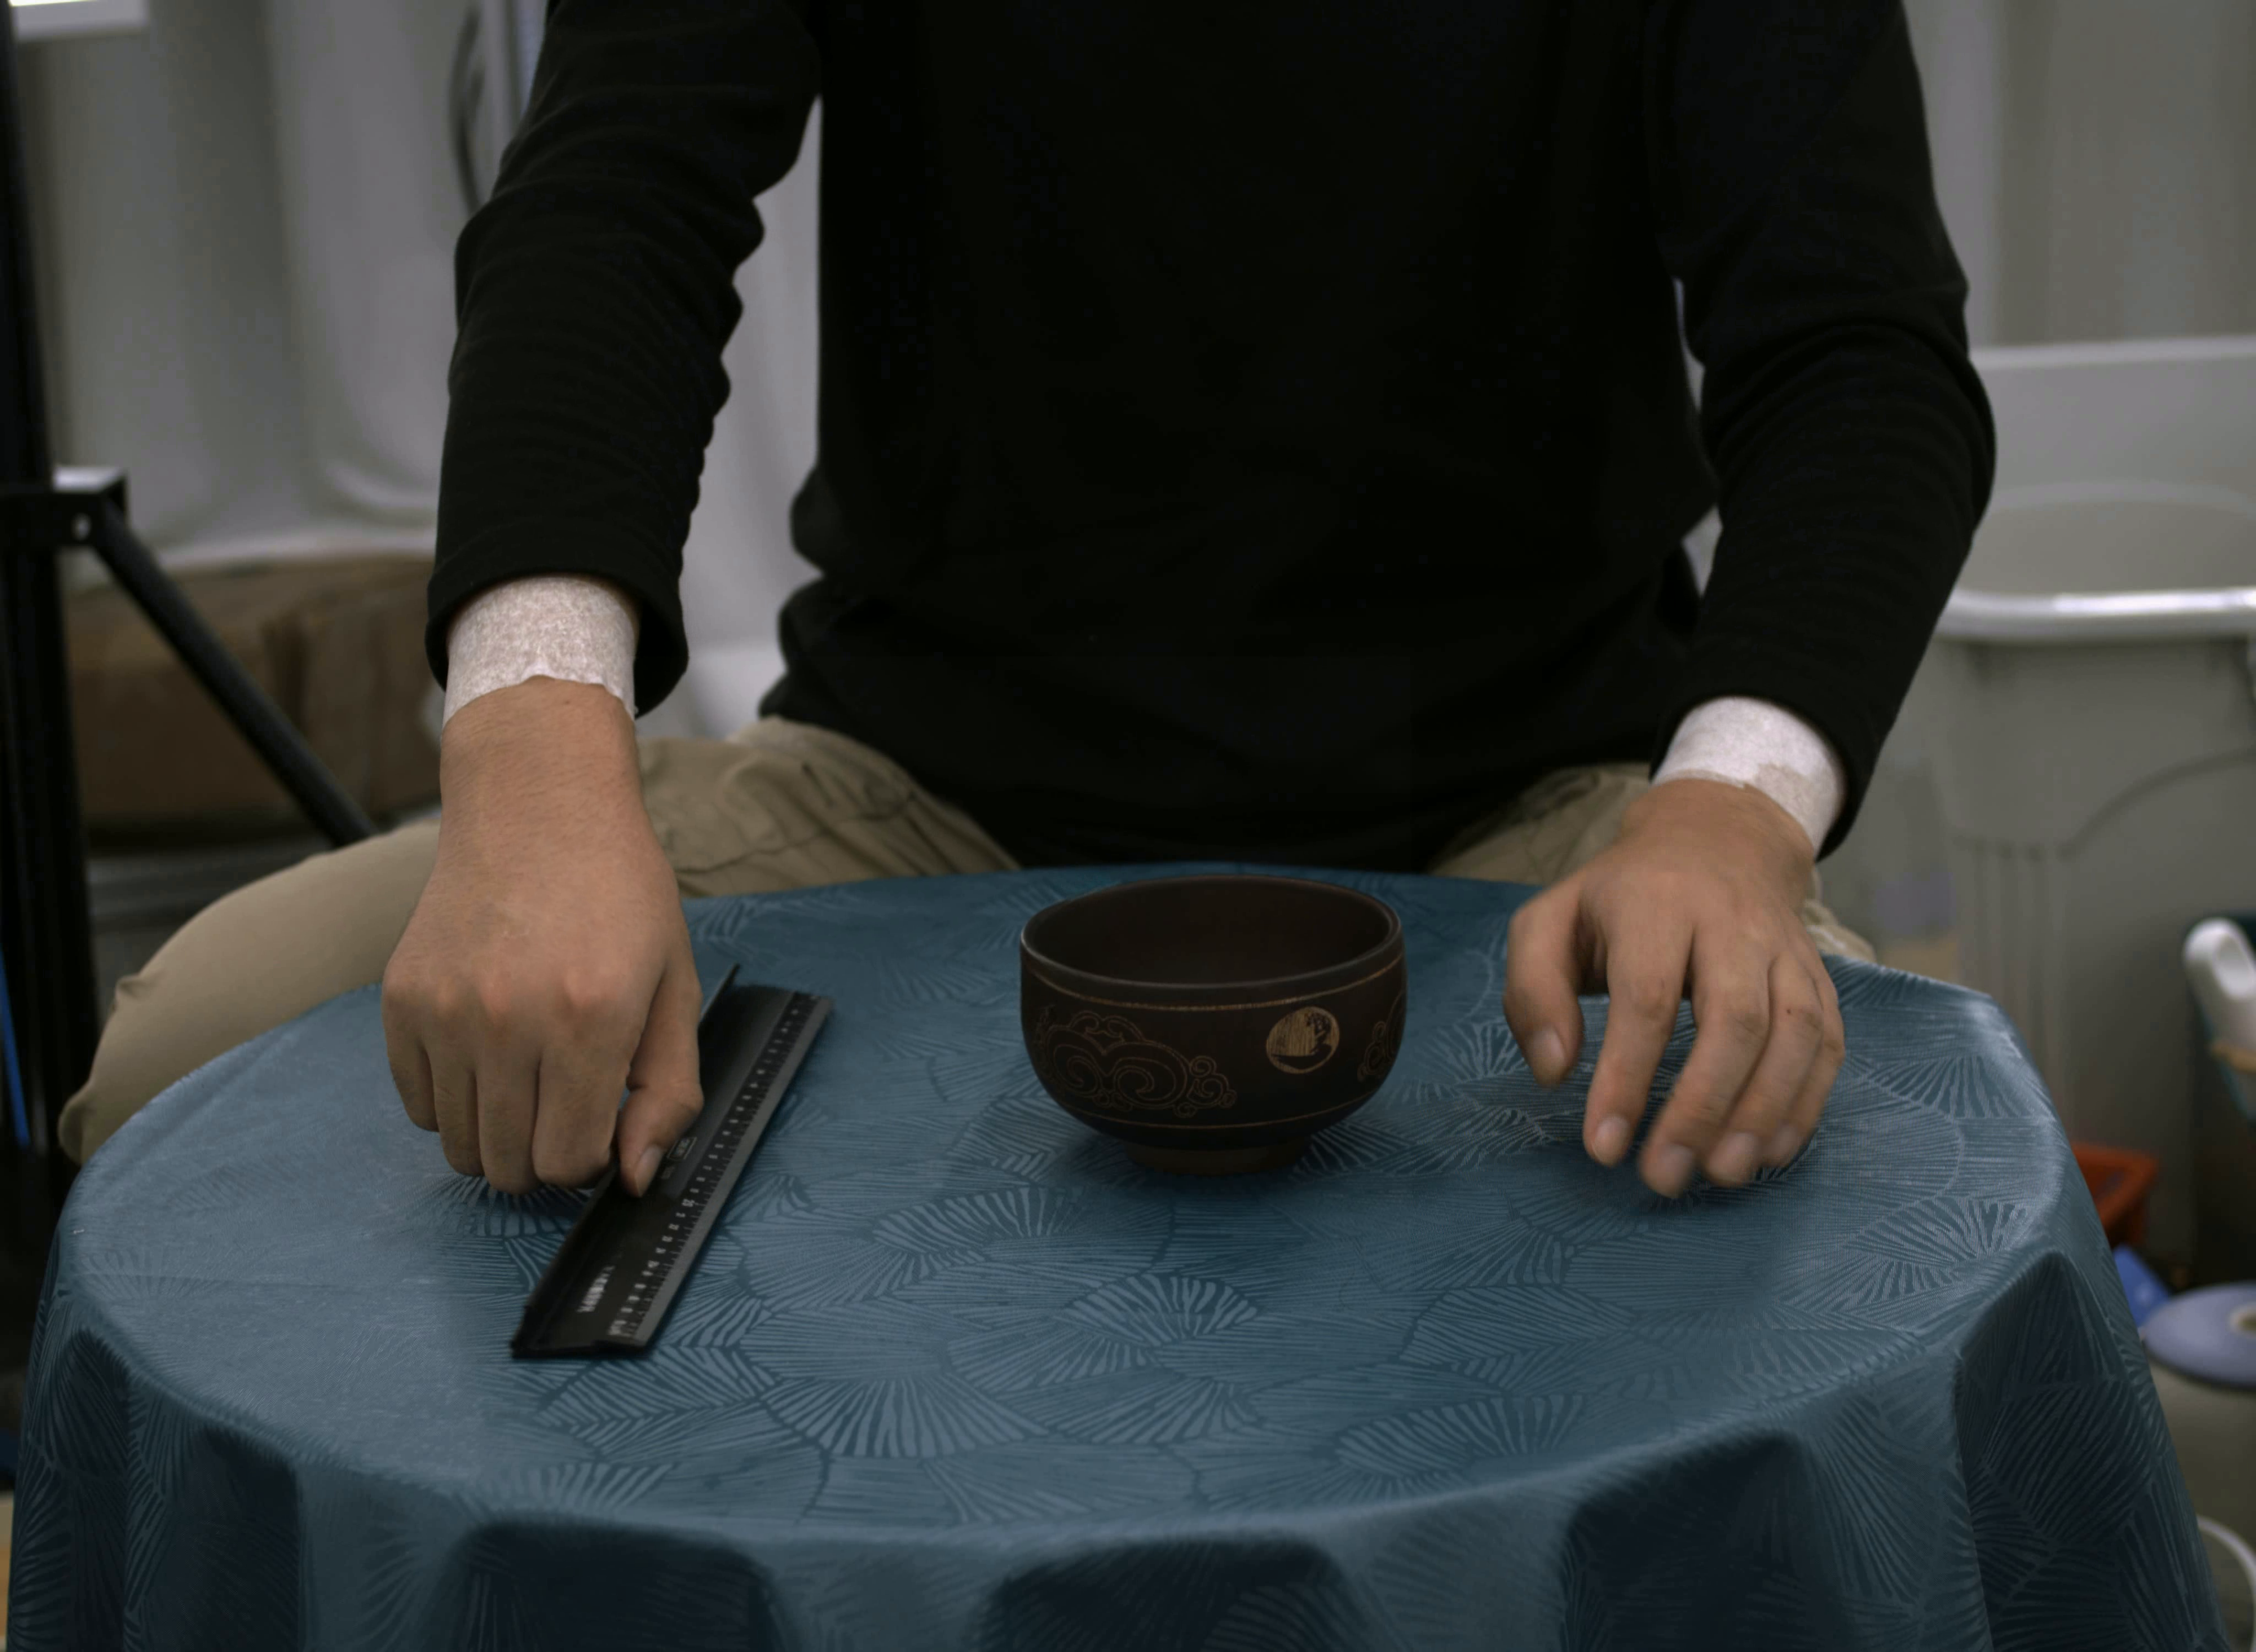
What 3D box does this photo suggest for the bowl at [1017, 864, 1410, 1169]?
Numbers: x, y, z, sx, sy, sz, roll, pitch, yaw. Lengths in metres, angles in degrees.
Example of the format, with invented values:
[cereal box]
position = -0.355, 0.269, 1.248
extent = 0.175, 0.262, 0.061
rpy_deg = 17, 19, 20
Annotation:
[bowl]
position = 0.026, 0.061, 1.585
extent = 0.117, 0.070, 0.118
rpy_deg = -2, 16, -1

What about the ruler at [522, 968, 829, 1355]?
[ruler]
position = -0.132, 0.095, 1.594
extent = 0.039, 0.017, 0.312
rpy_deg = 0, 16, 6
